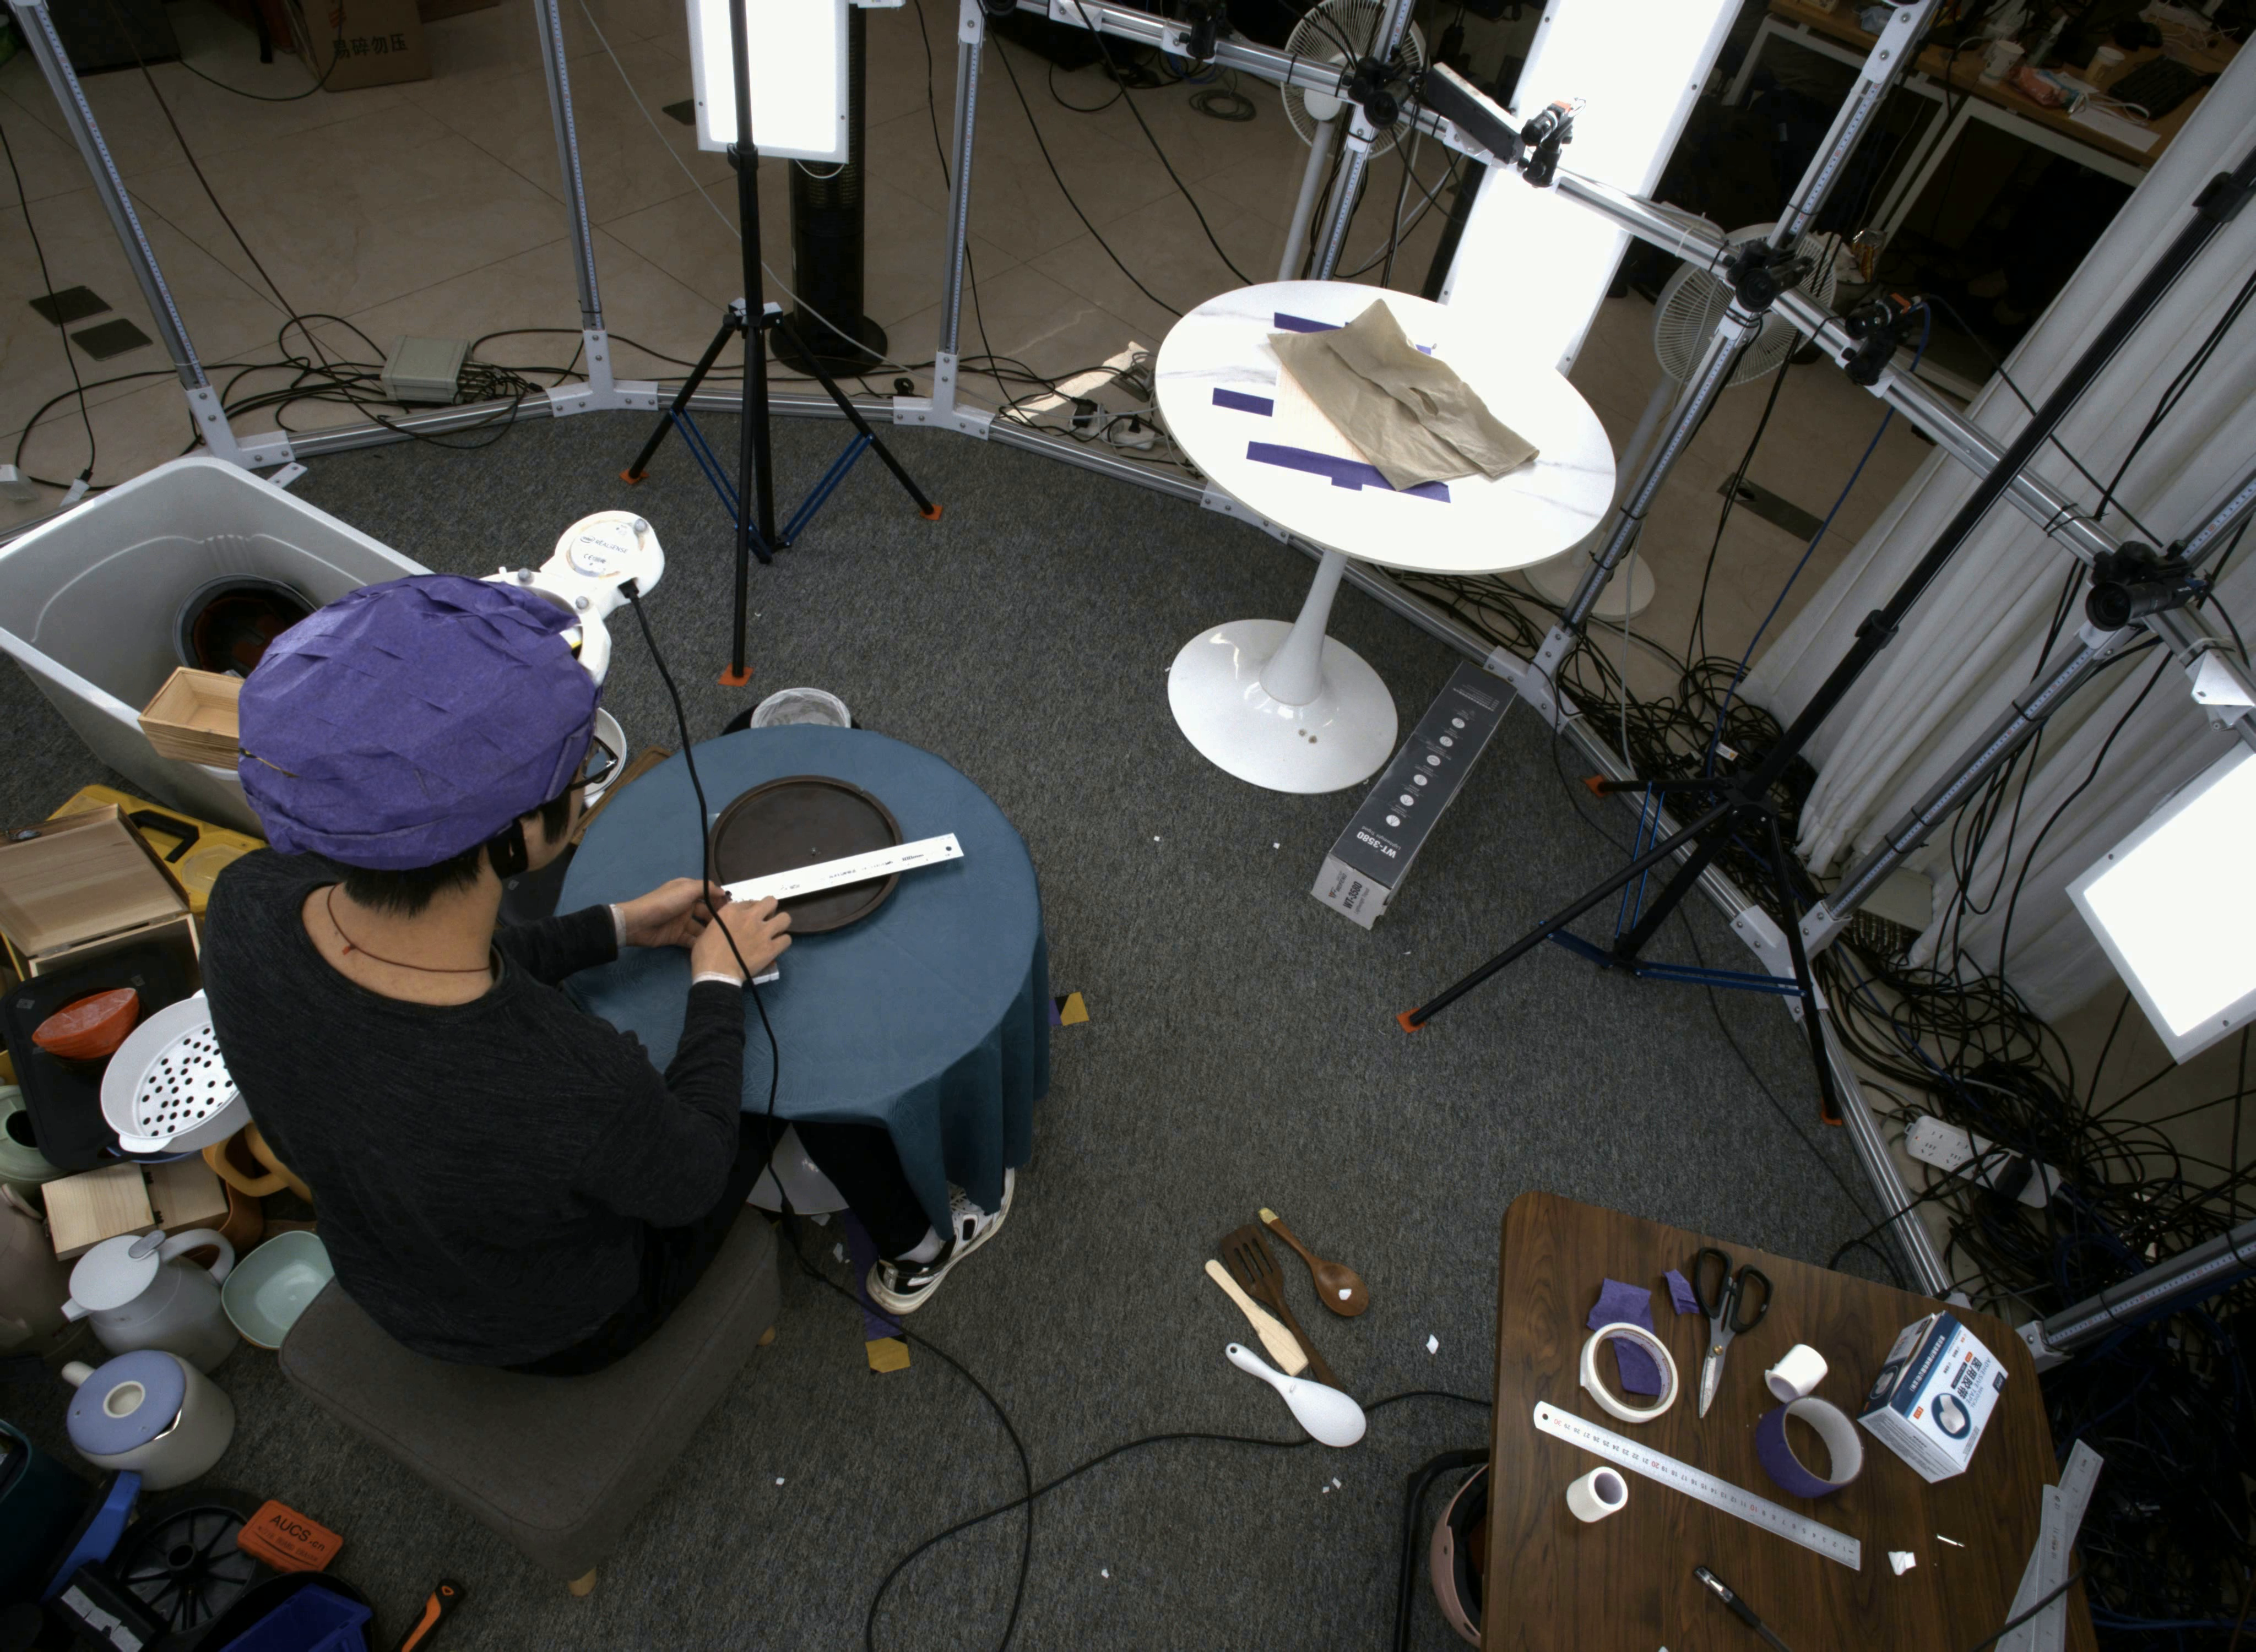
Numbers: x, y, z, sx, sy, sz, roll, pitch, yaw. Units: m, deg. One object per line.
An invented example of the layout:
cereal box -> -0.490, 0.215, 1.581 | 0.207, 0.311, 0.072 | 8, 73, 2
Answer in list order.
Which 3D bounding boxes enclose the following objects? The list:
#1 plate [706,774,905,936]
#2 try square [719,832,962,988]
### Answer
plate -> -0.416, 0.035, 1.679 | 0.254, 0.029, 0.250 | 9, 51, -9
try square -> -0.343, 0.098, 1.635 | 0.315, 0.016, 0.148 | -14, 58, -24
